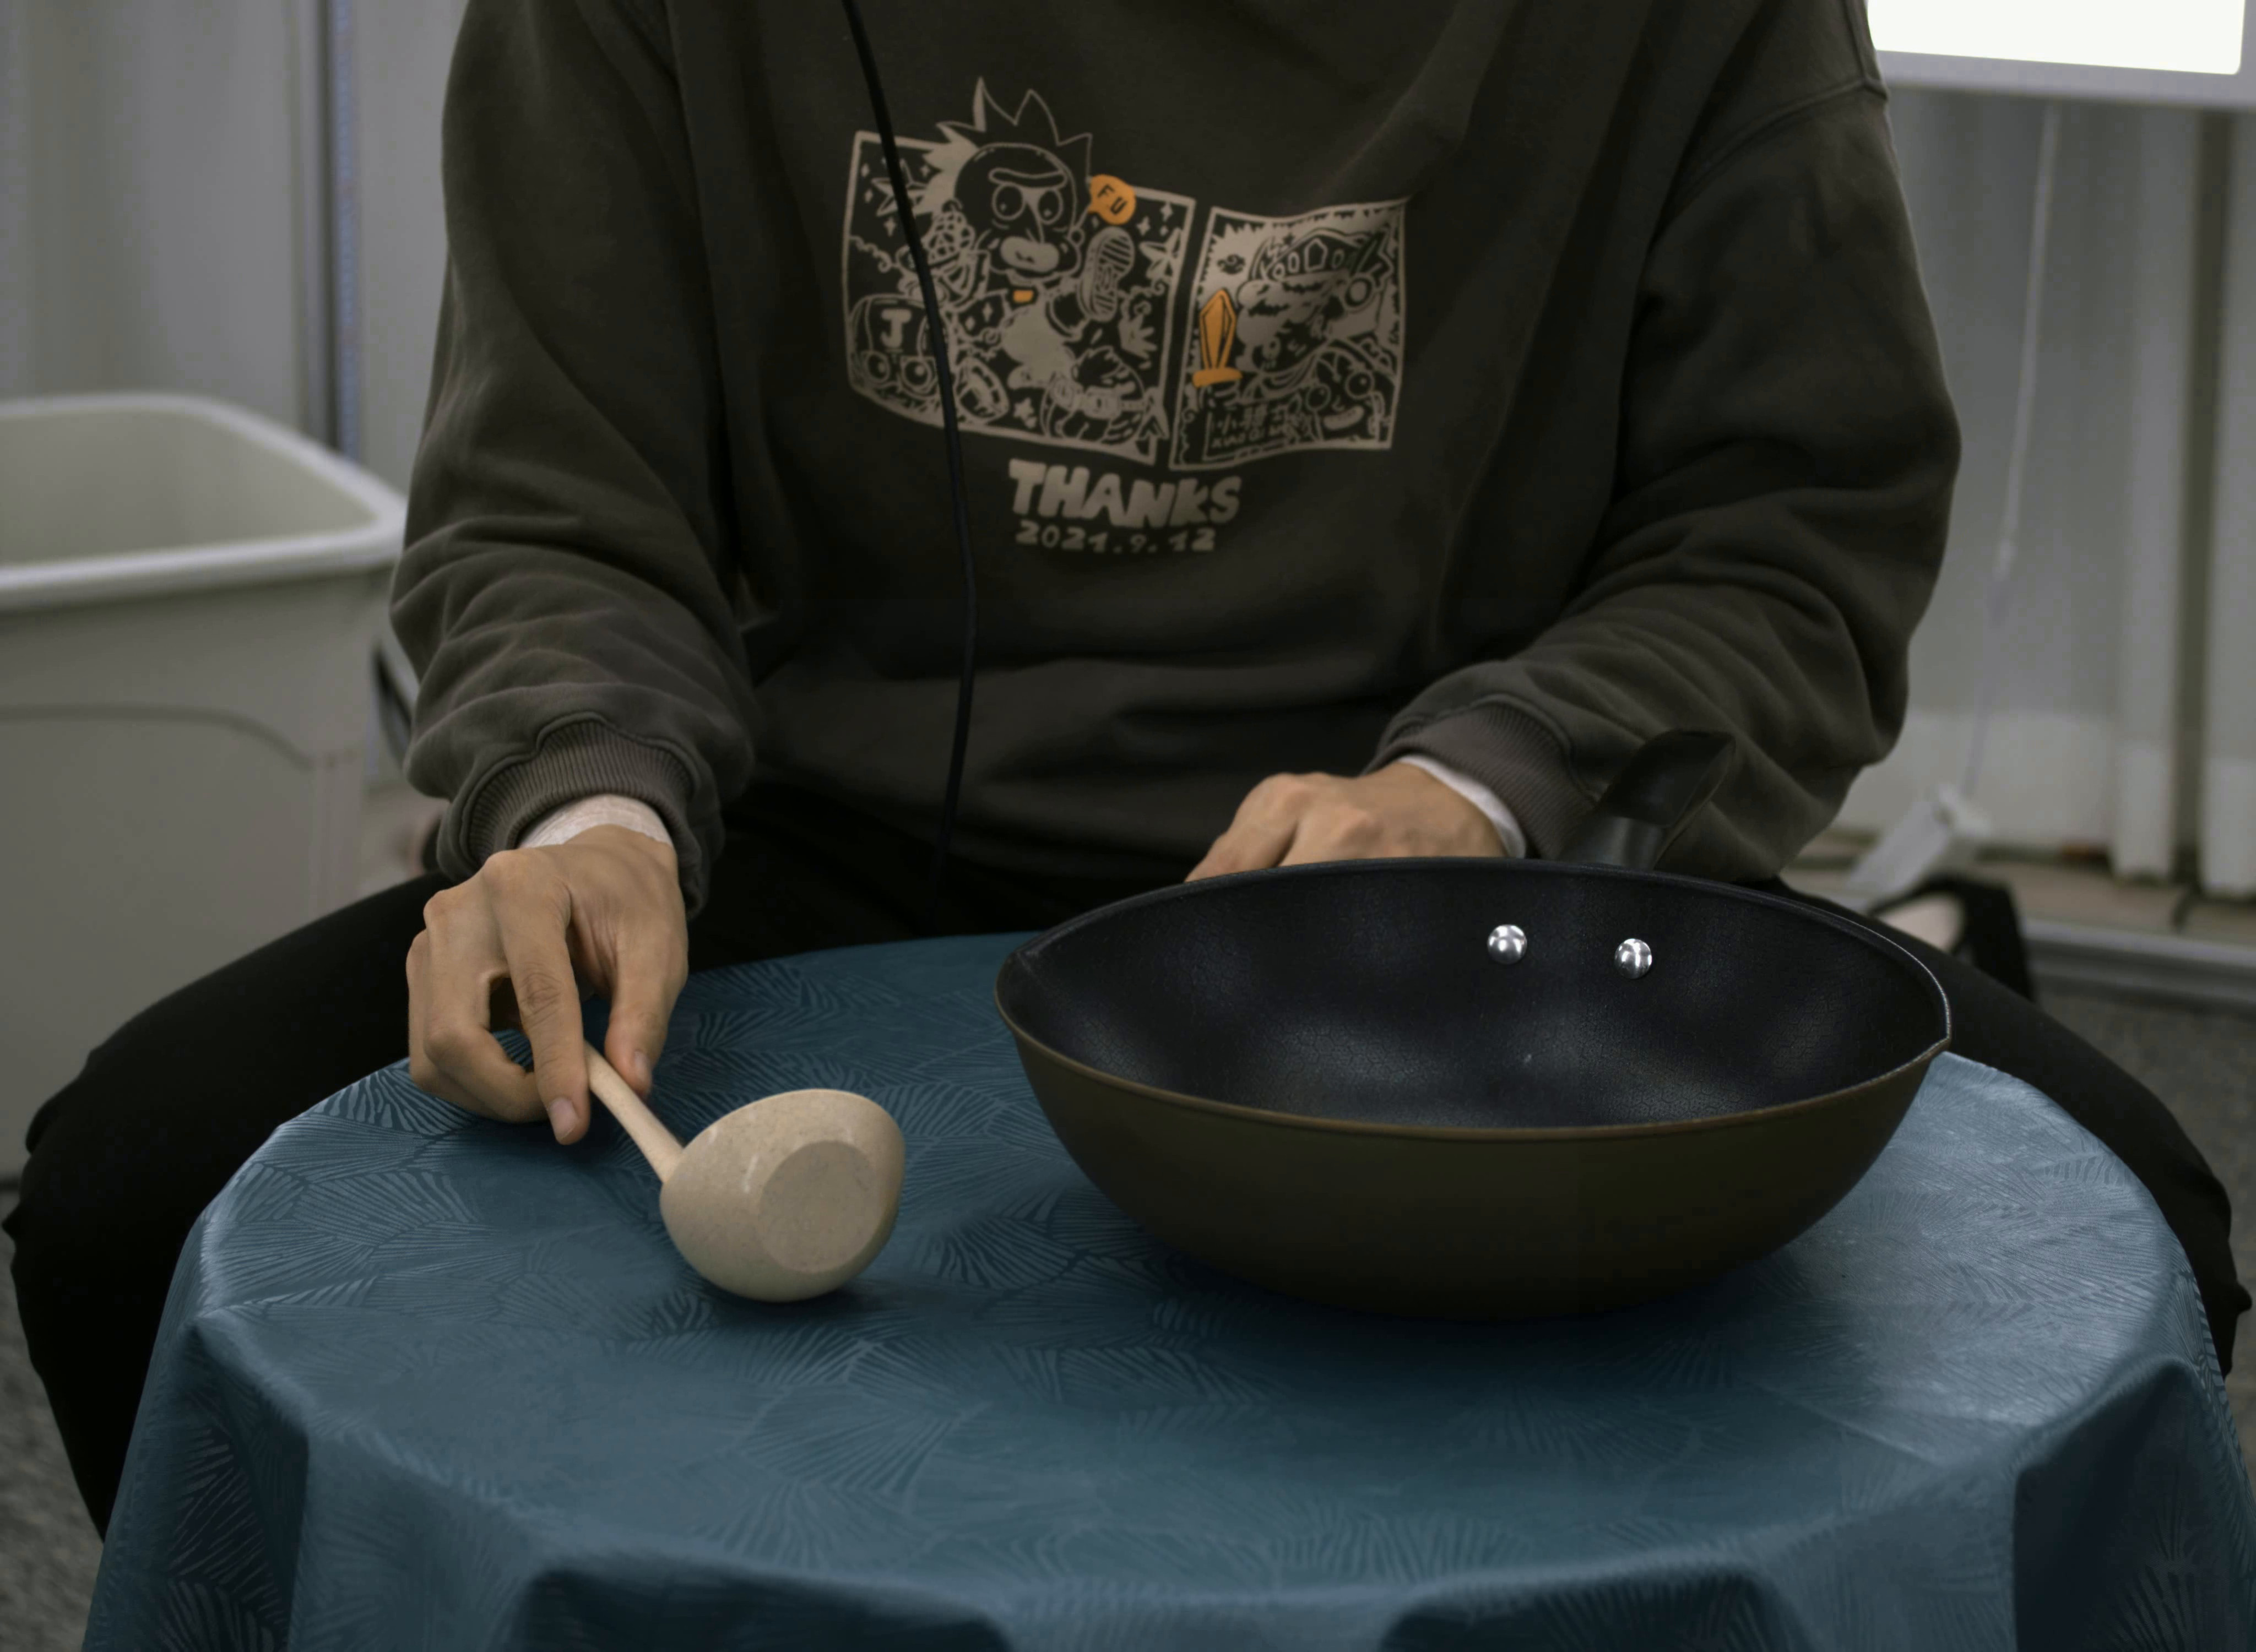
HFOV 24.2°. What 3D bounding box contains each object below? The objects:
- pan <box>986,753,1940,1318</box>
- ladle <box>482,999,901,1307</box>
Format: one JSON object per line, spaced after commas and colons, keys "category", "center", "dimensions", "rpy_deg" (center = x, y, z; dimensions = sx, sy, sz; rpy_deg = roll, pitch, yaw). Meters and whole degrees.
{"category": "pan", "center": [0.127, 0.062, 1.661], "dimensions": [0.285, 0.087, 0.463], "rpy_deg": [5, 15, 17]}
{"category": "ladle", "center": [-0.143, 0.070, 1.605], "dimensions": [0.072, 0.073, 0.251], "rpy_deg": [2, 20, -29]}
